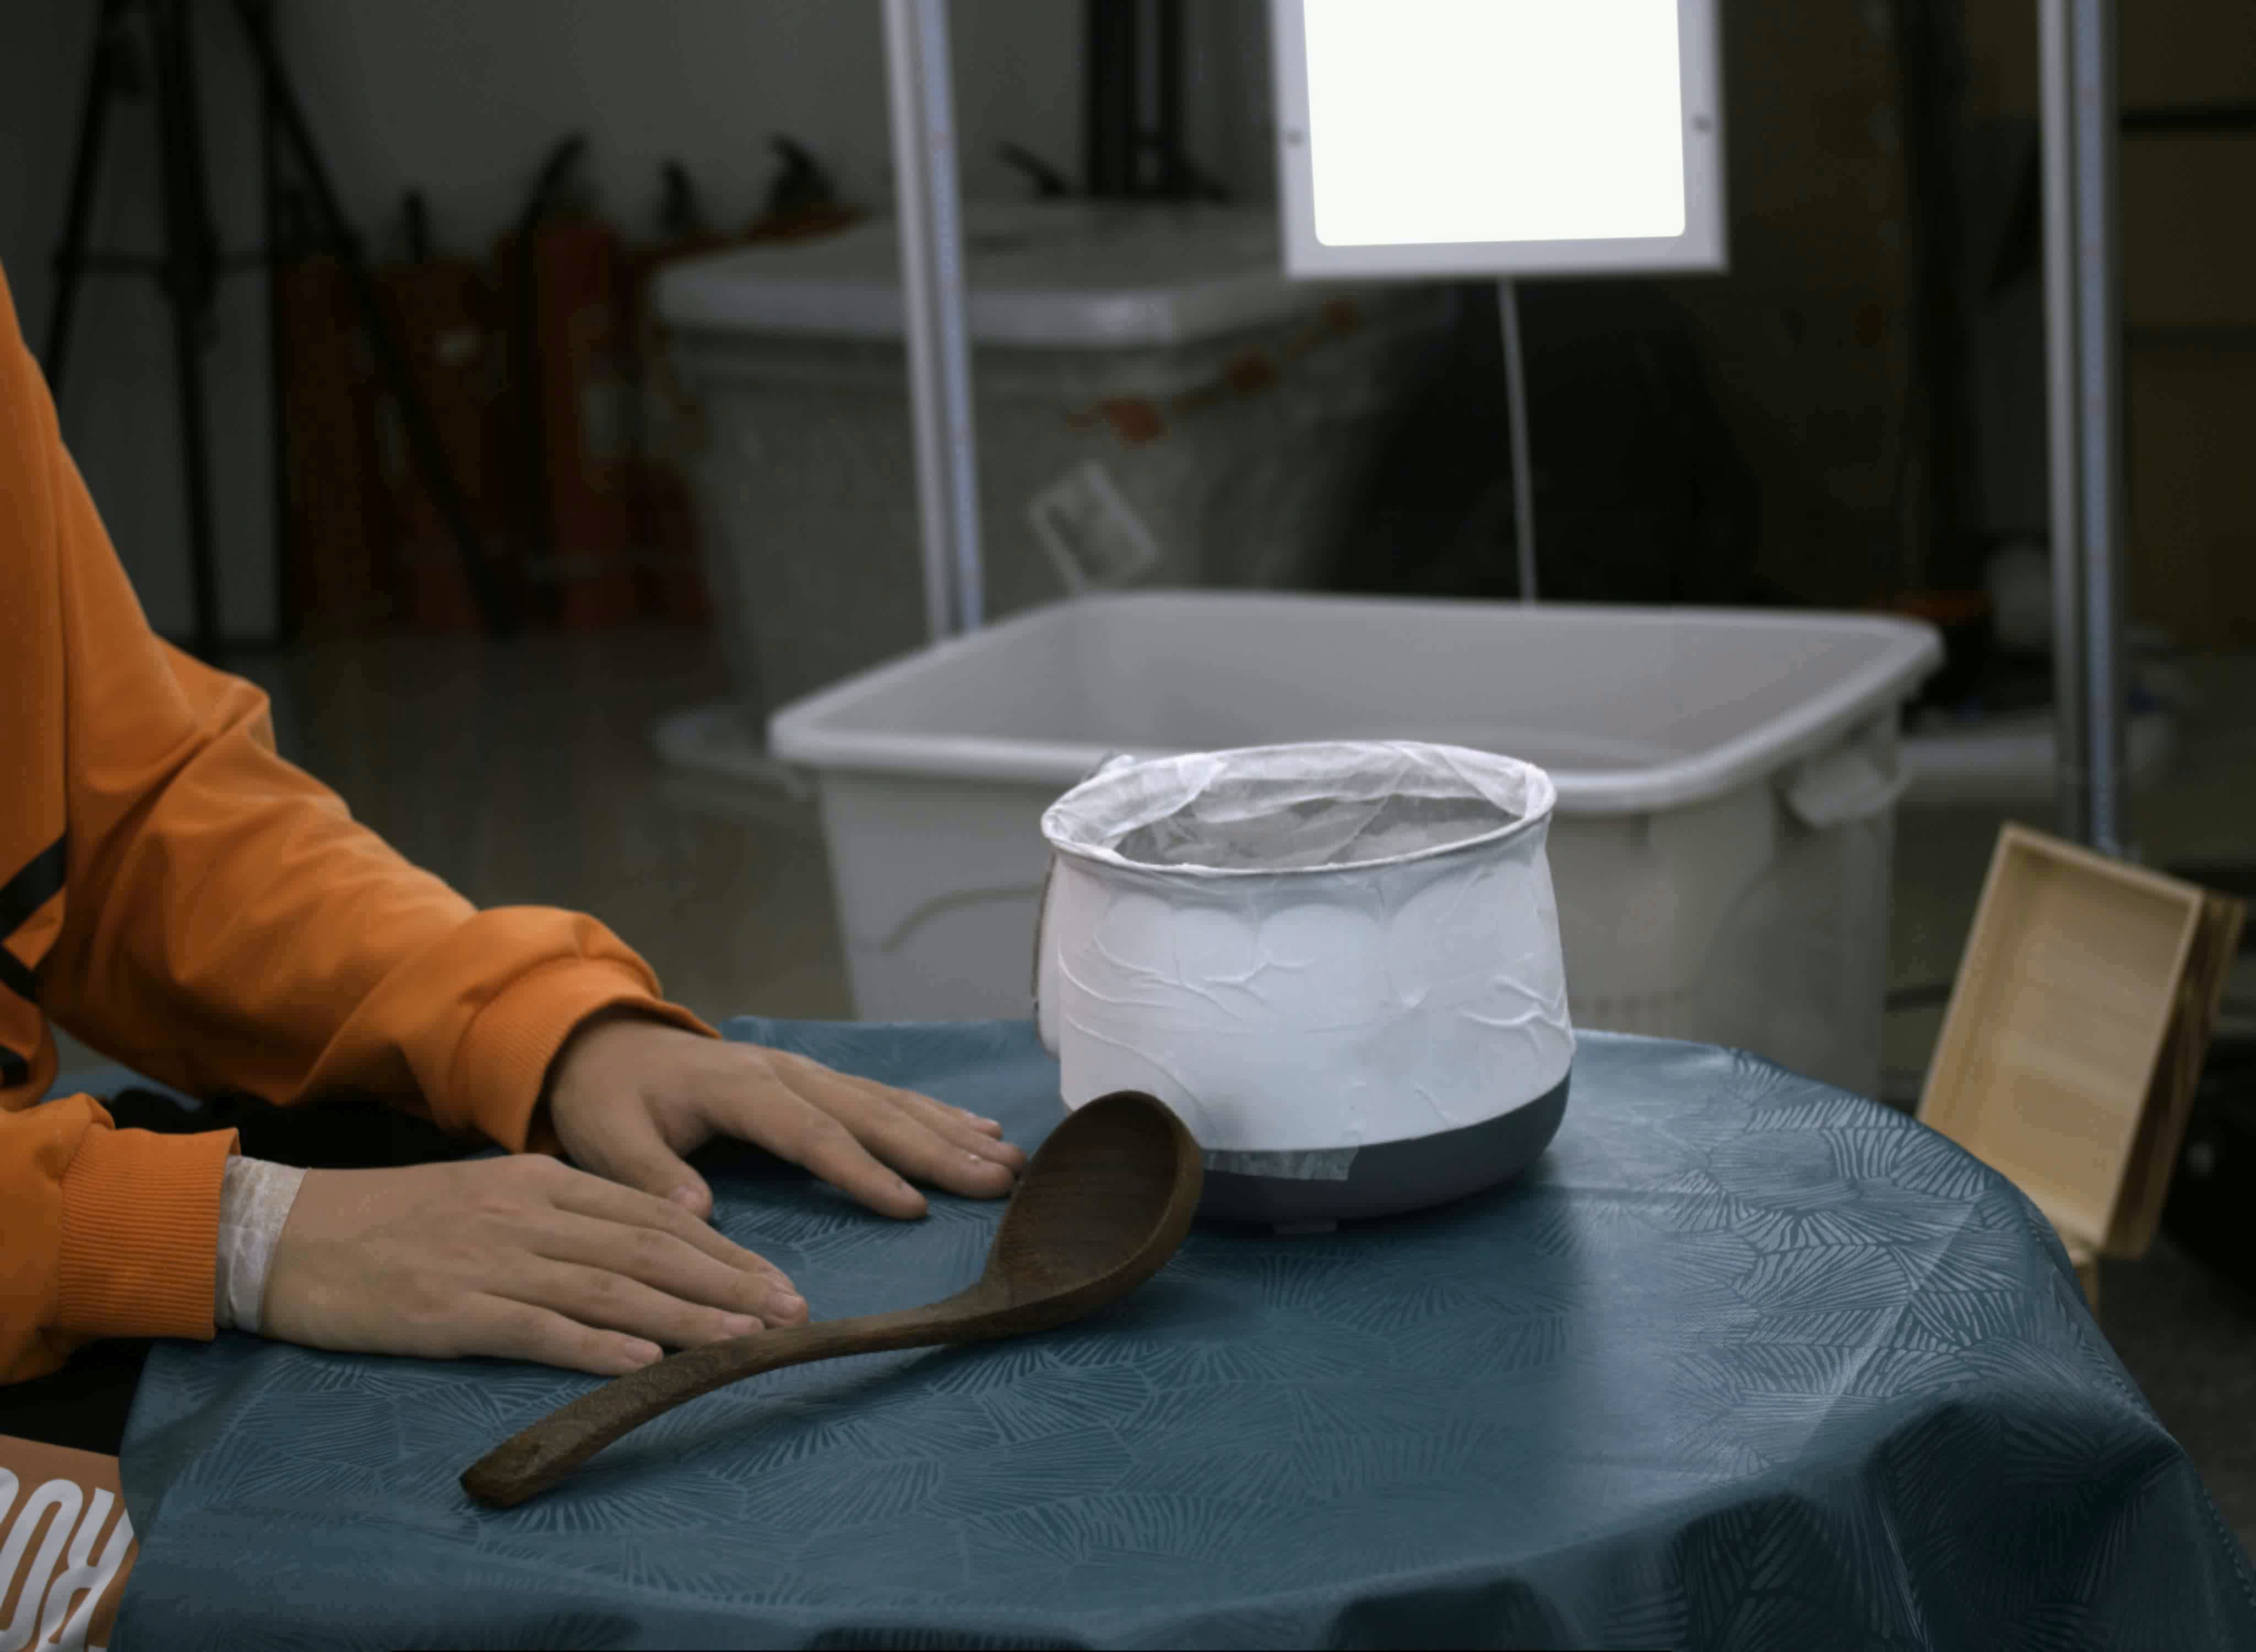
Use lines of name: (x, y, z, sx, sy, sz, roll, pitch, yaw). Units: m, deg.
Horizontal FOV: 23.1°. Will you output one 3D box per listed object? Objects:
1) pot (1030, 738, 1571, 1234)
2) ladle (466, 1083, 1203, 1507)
pot: (0.045, 0.049, 1.906, 0.174, 0.137, 0.238, -15, 17, -37)
ladle: (-0.091, 0.142, 1.719, 0.267, 0.071, 0.077, -14, 13, -35)
